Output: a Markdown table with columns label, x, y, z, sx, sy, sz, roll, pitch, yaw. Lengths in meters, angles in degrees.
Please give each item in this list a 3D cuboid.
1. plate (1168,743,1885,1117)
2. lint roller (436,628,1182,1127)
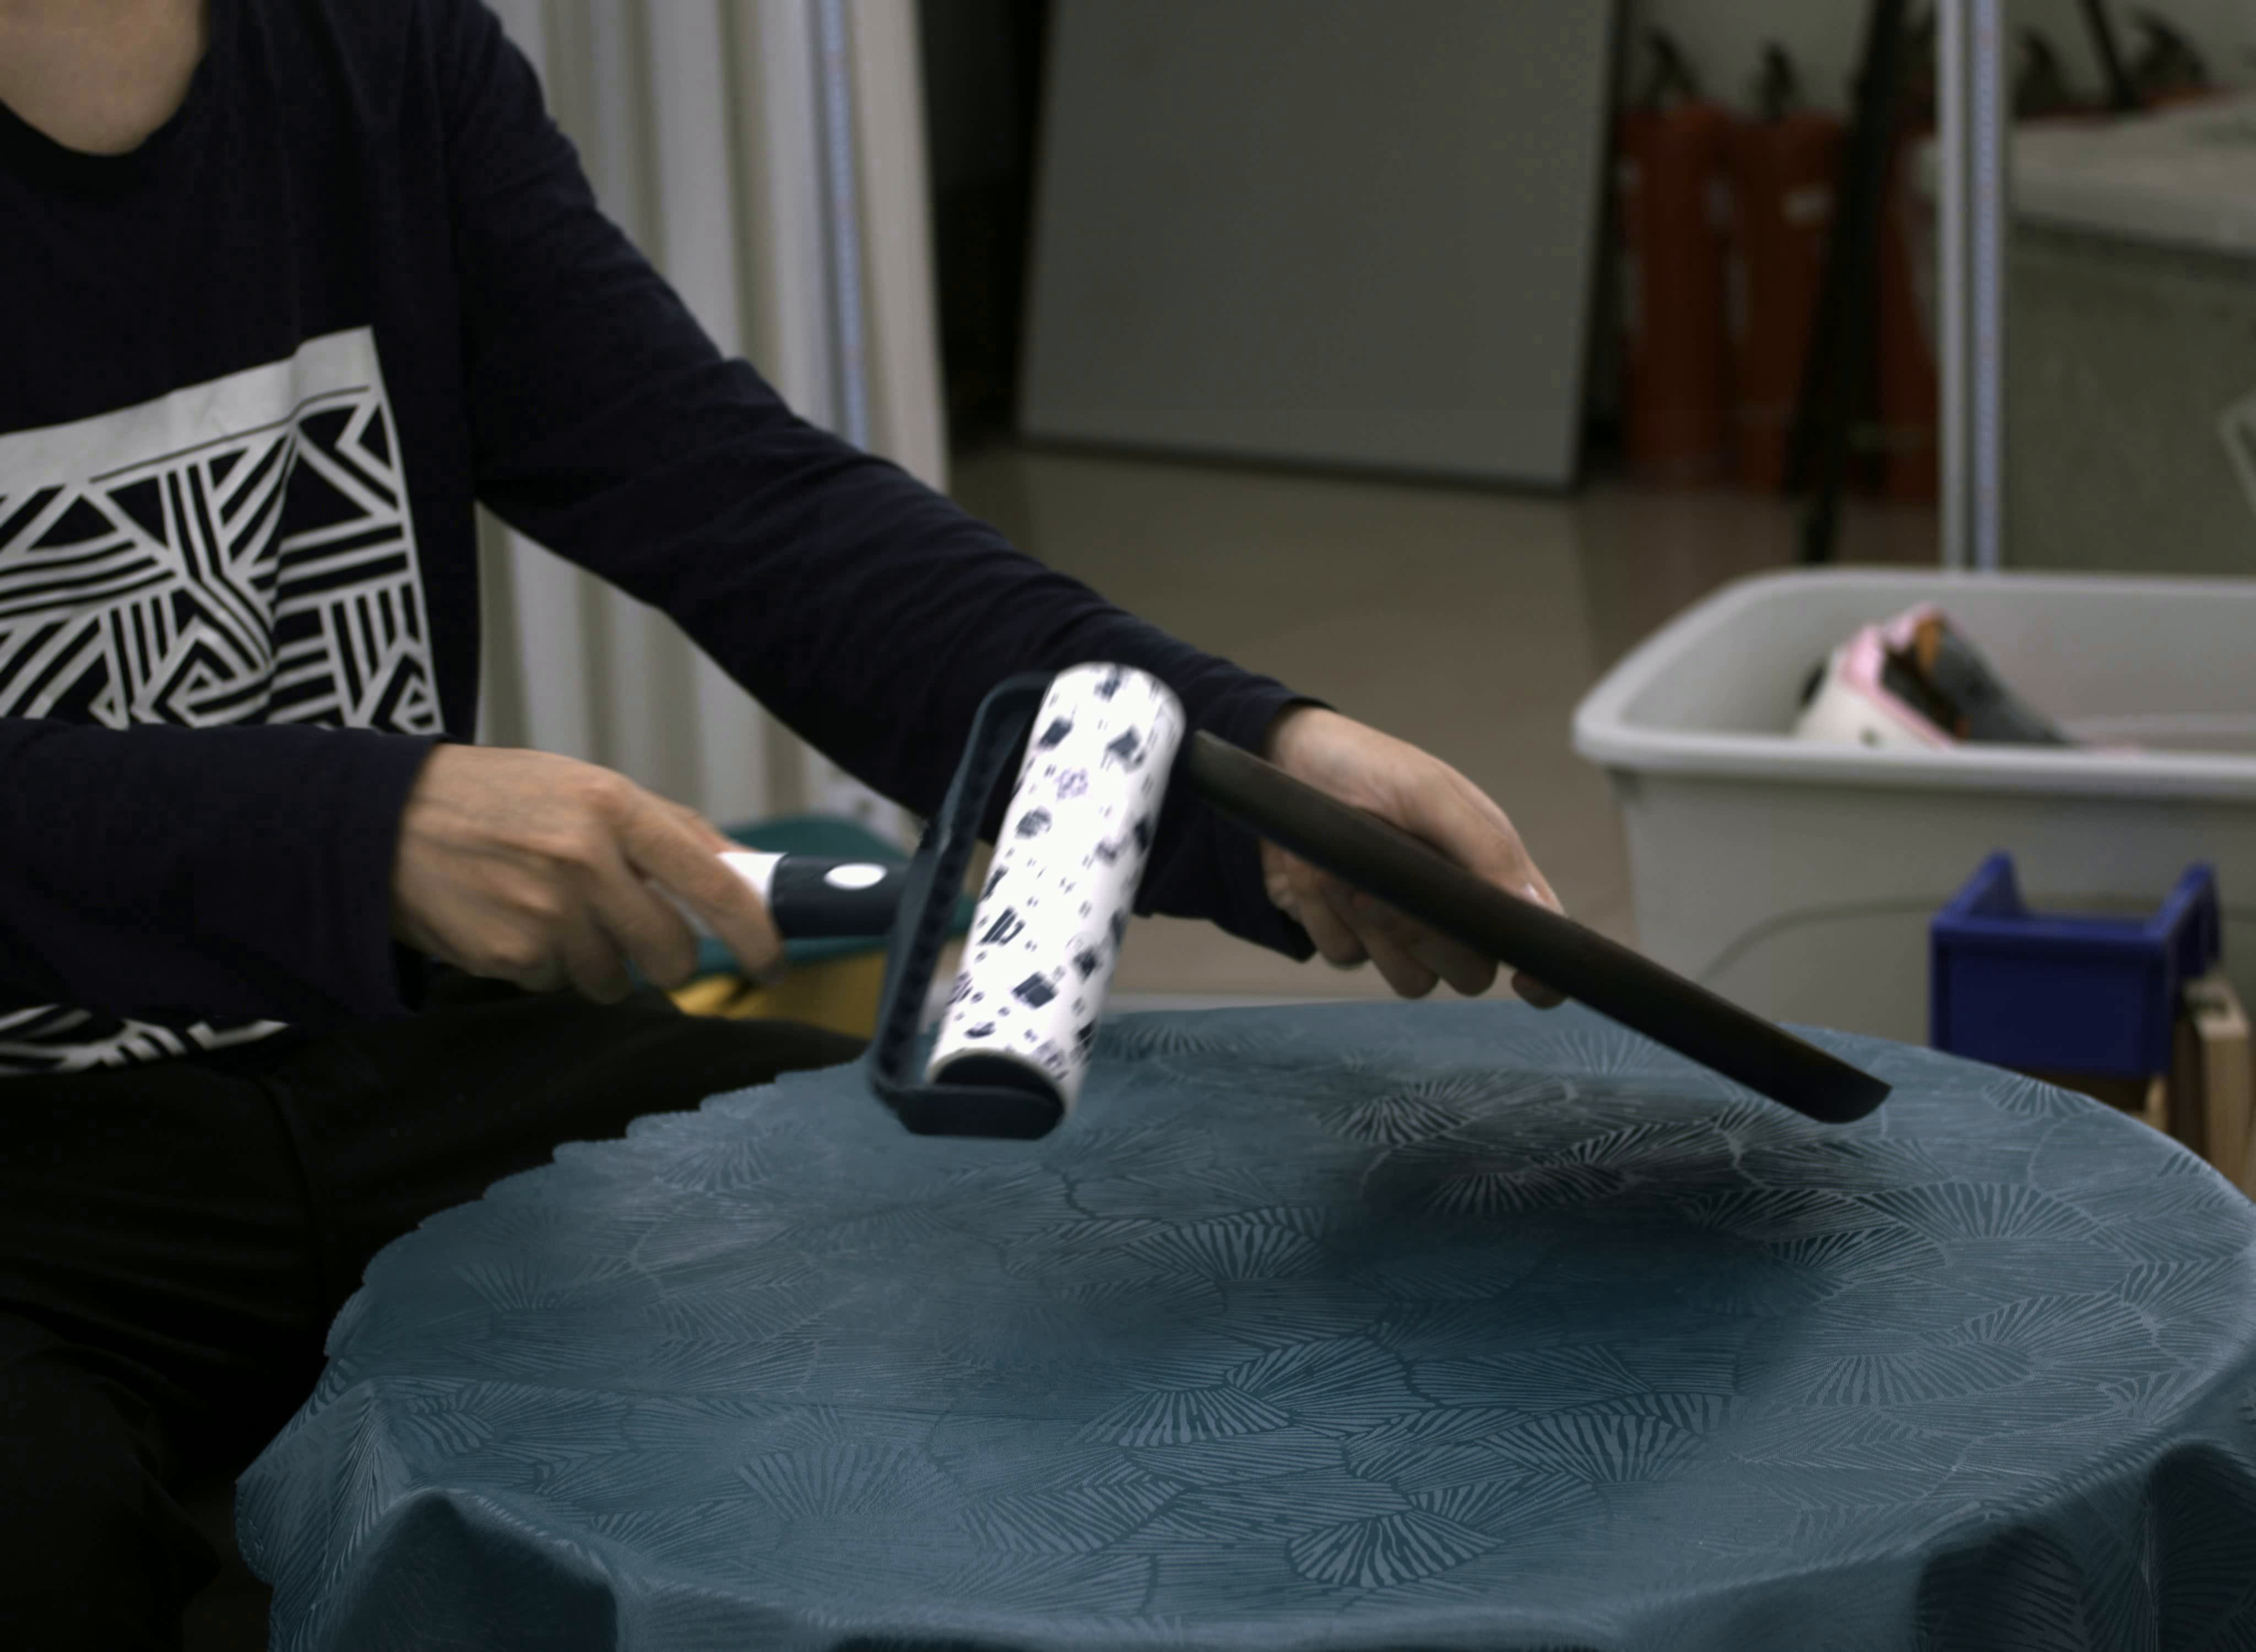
| label | x | y | z | sx | sy | sz | roll | pitch | yaw |
| --- | --- | --- | --- | --- | --- | --- | --- | --- | --- |
| plate | 0.125 | 0.034 | 1.728 | 0.252 | 0.029 | 0.255 | 26 | 0 | -1 |
| lint roller | -0.112 | 0.020 | 1.704 | 0.247 | 0.050 | 0.177 | -3 | 50 | 22 |
